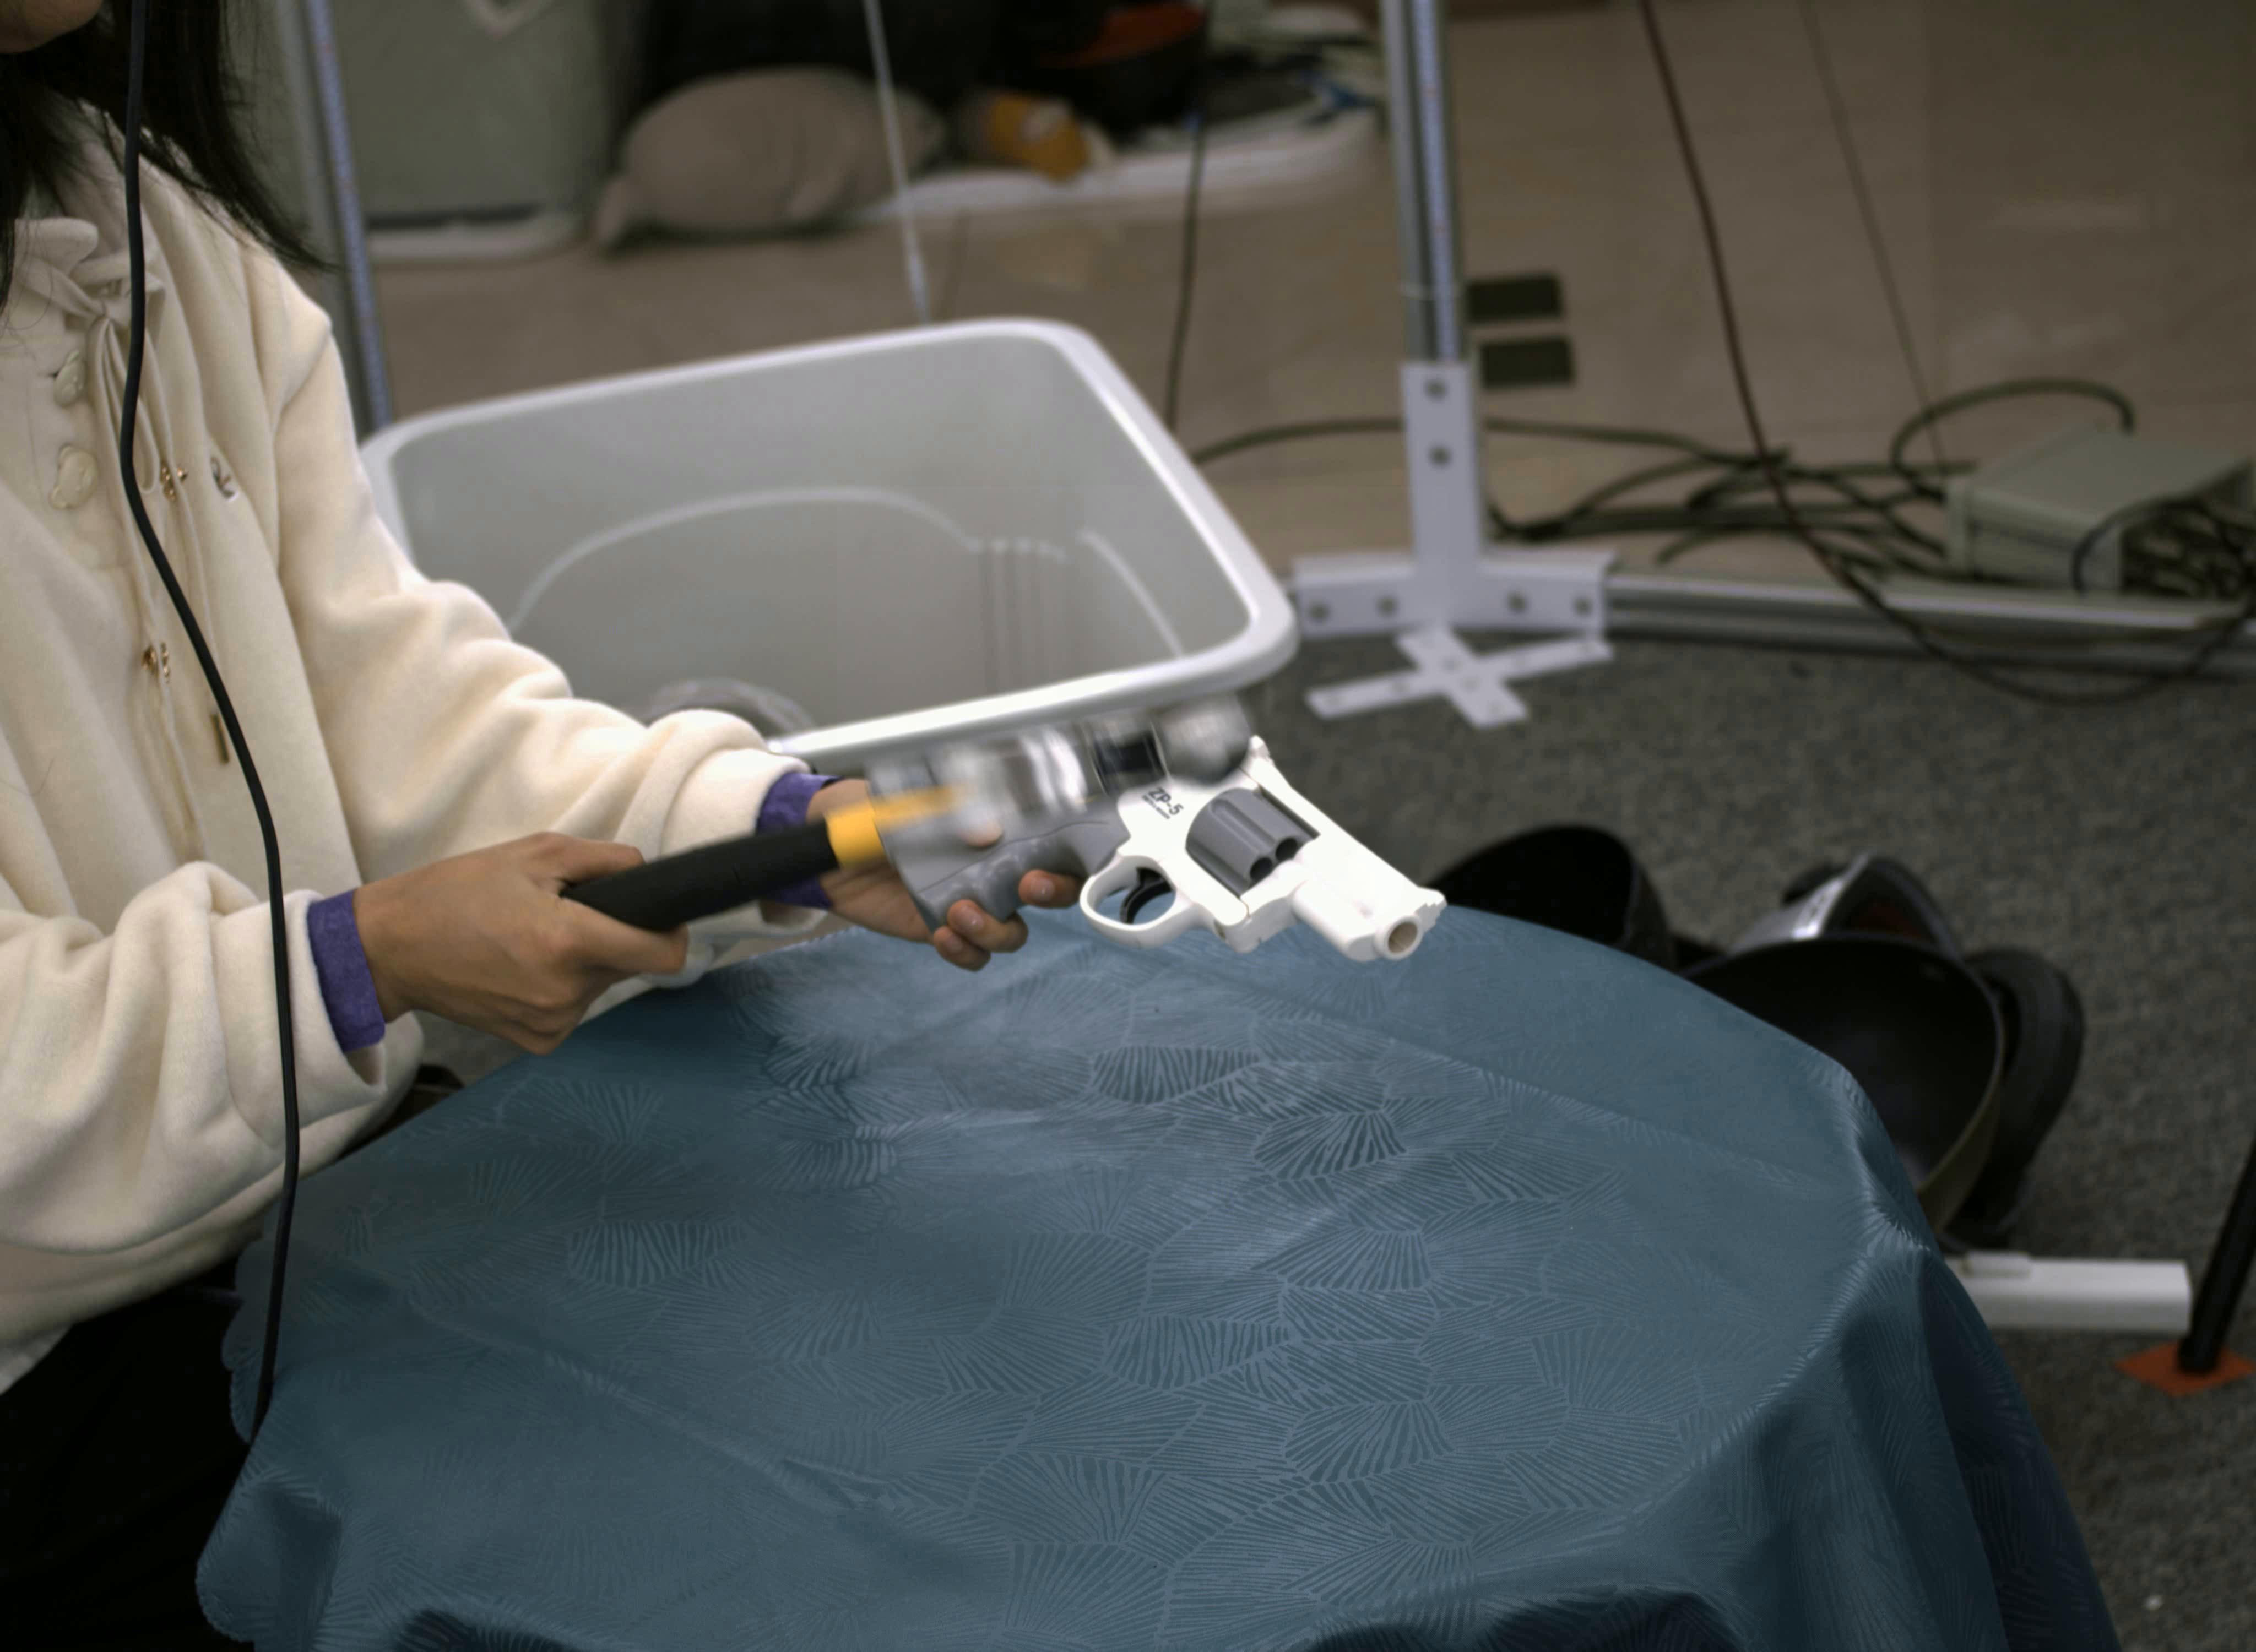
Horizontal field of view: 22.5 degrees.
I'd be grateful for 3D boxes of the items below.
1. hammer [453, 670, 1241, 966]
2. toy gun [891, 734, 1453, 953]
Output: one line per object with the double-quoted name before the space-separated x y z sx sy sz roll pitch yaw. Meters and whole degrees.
"hammer" -0.122 0.002 2.000 0.340 0.032 0.131 -17 -2 43
"toy gun" 0.013 0.022 2.168 0.141 0.039 0.206 -38 42 -14
